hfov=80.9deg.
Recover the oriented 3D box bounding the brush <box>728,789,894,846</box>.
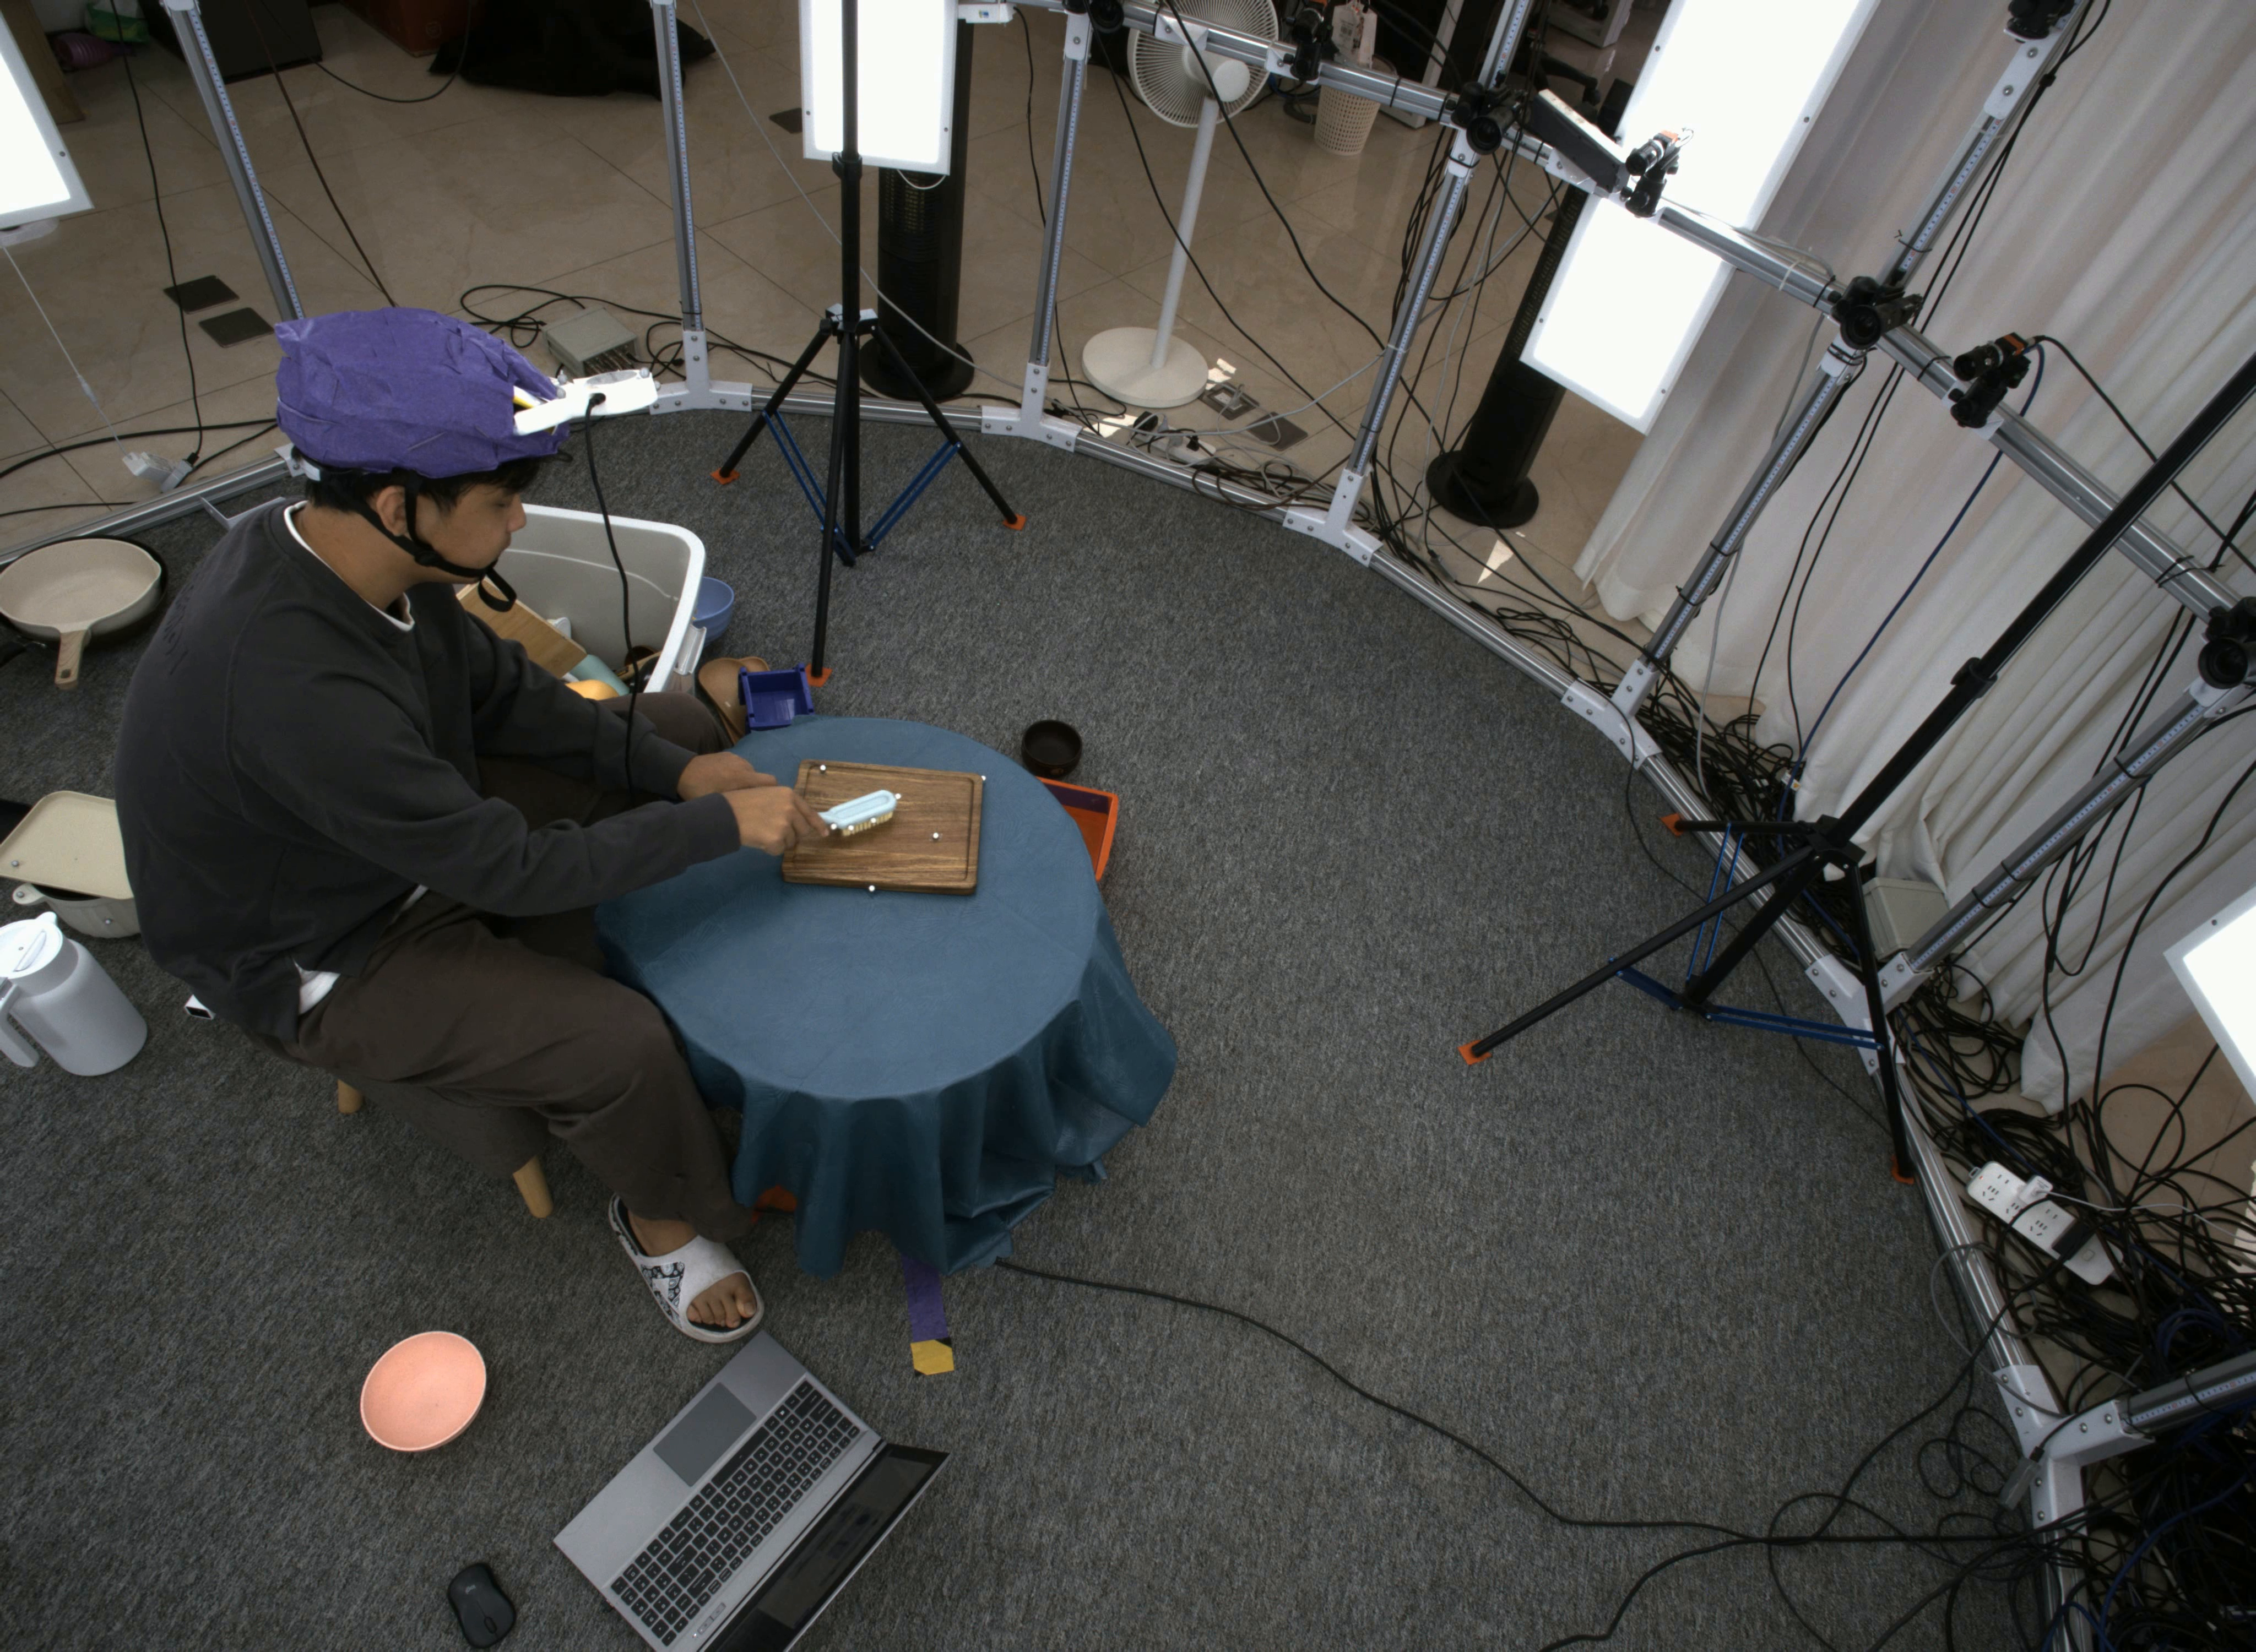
[{"bbox_3d":[-0.404,-0.003,1.661,0.231,0.050,0.037,-16,56,-41],"label":"brush"}]

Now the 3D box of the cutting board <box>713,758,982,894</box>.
[{"bbox_3d":[-0.371,-0.007,1.726,0.352,0.023,0.197,5,53,-10],"label":"cutting board"}]
